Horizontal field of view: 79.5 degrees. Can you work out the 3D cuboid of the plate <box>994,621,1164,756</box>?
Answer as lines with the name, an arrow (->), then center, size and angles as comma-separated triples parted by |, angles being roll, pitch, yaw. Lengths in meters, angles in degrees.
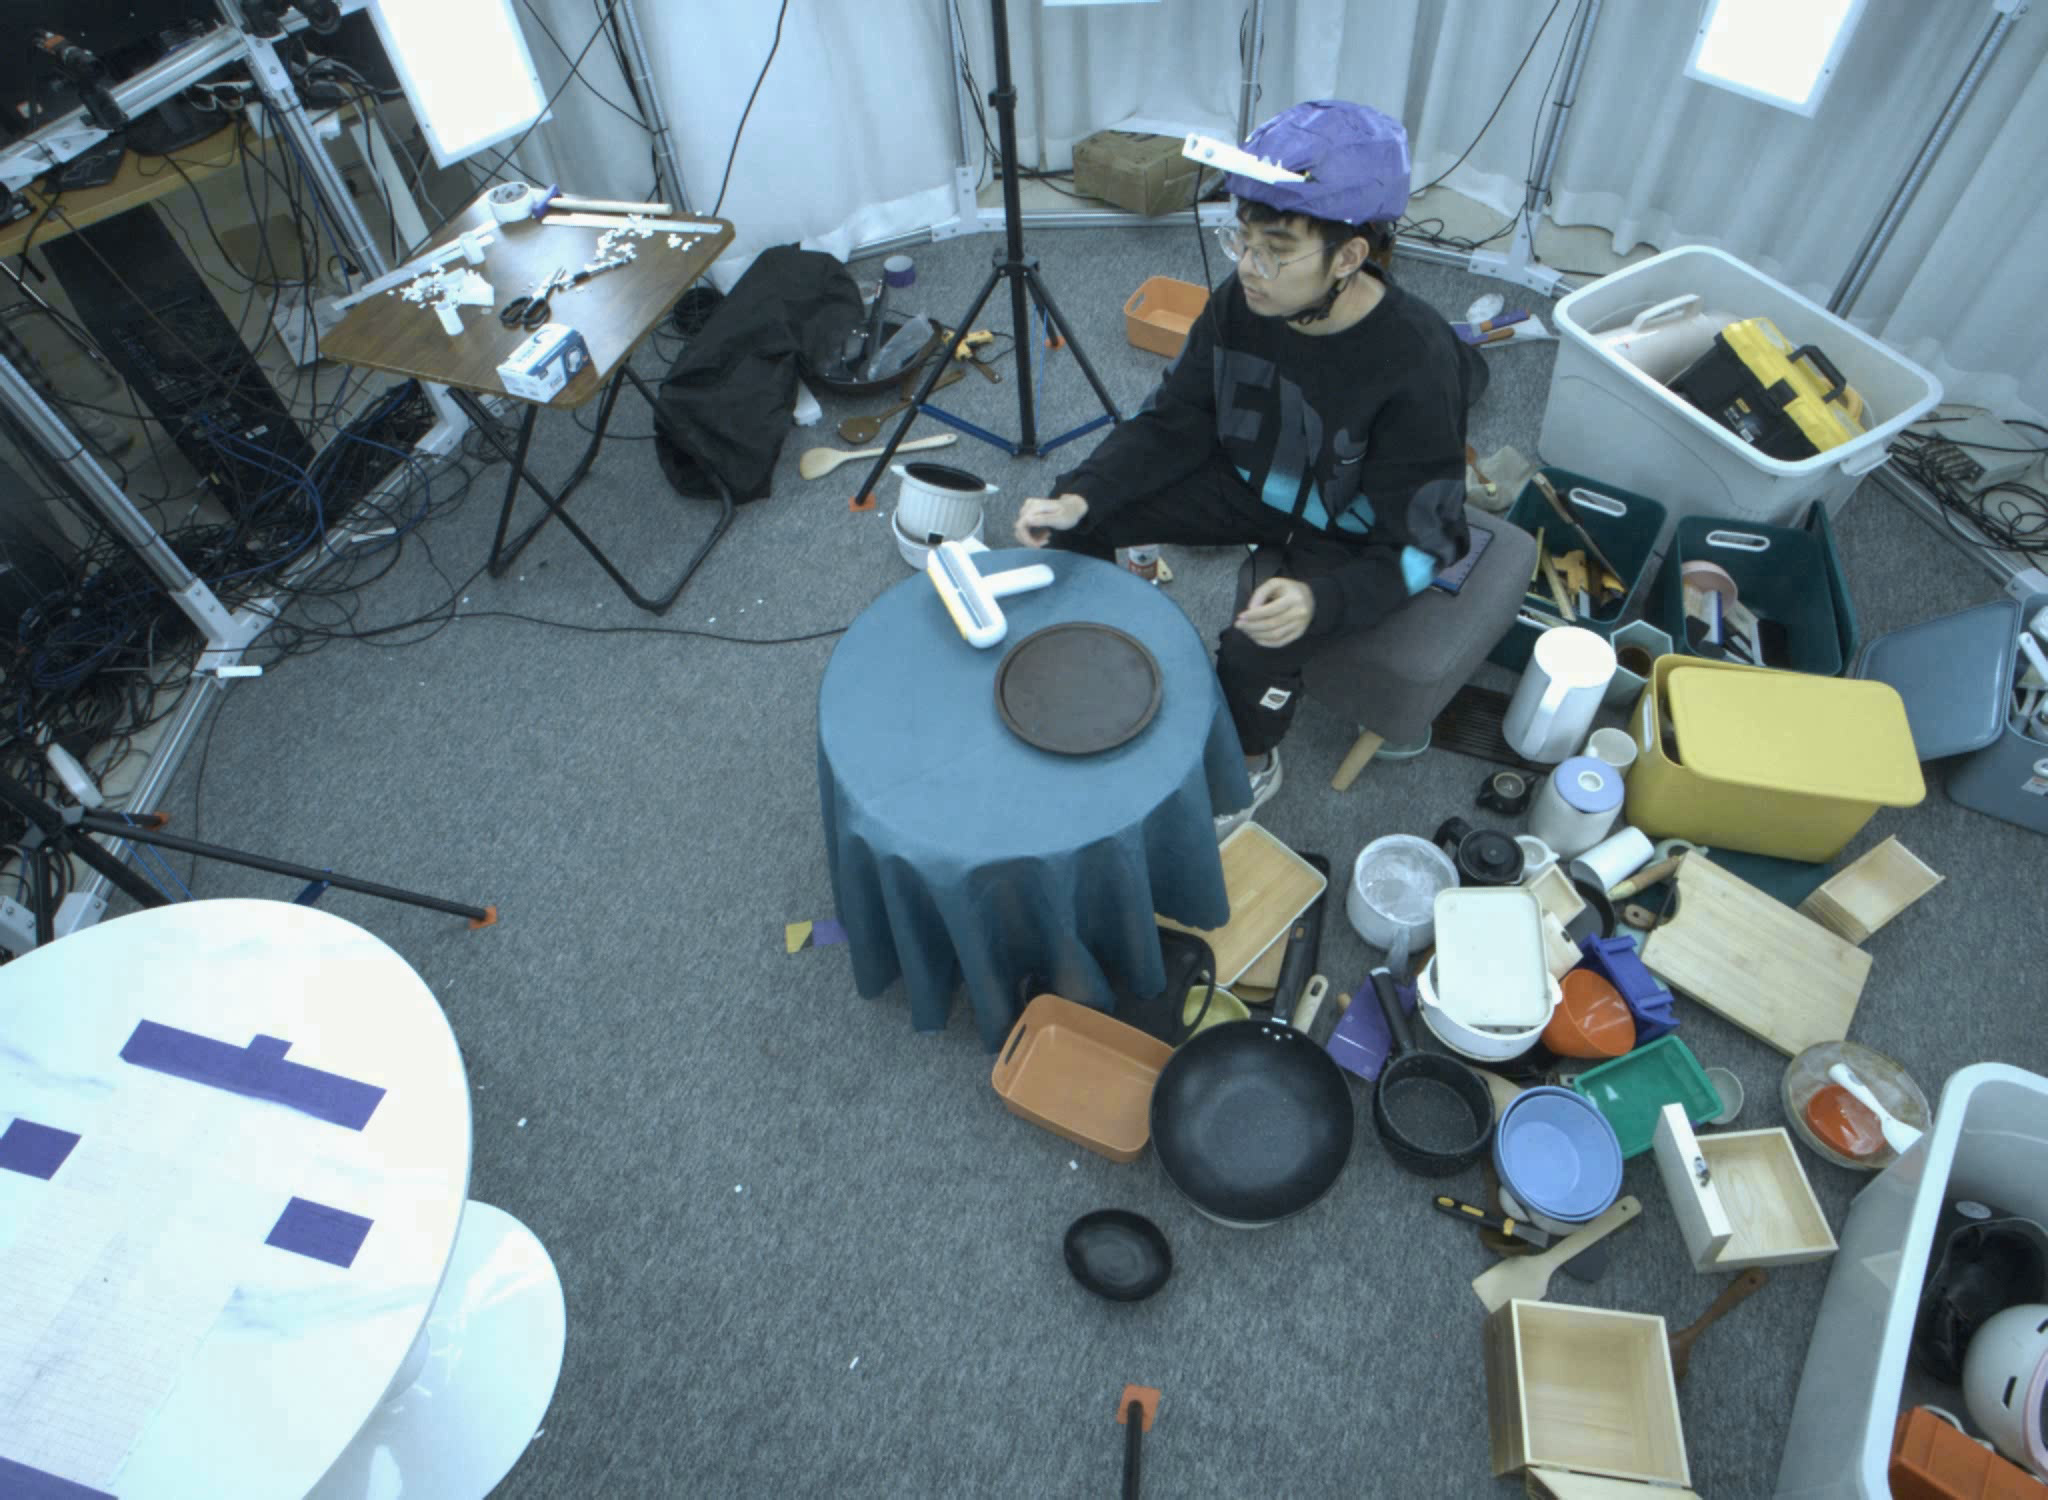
plate -> 0.081, -0.093, 1.832 | 0.255, 0.029, 0.252 | 0, 54, 1

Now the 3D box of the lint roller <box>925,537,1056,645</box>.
lint roller -> -0.040, -0.263, 1.930 | 0.194, 0.075, 0.190 | -20, 62, -13
